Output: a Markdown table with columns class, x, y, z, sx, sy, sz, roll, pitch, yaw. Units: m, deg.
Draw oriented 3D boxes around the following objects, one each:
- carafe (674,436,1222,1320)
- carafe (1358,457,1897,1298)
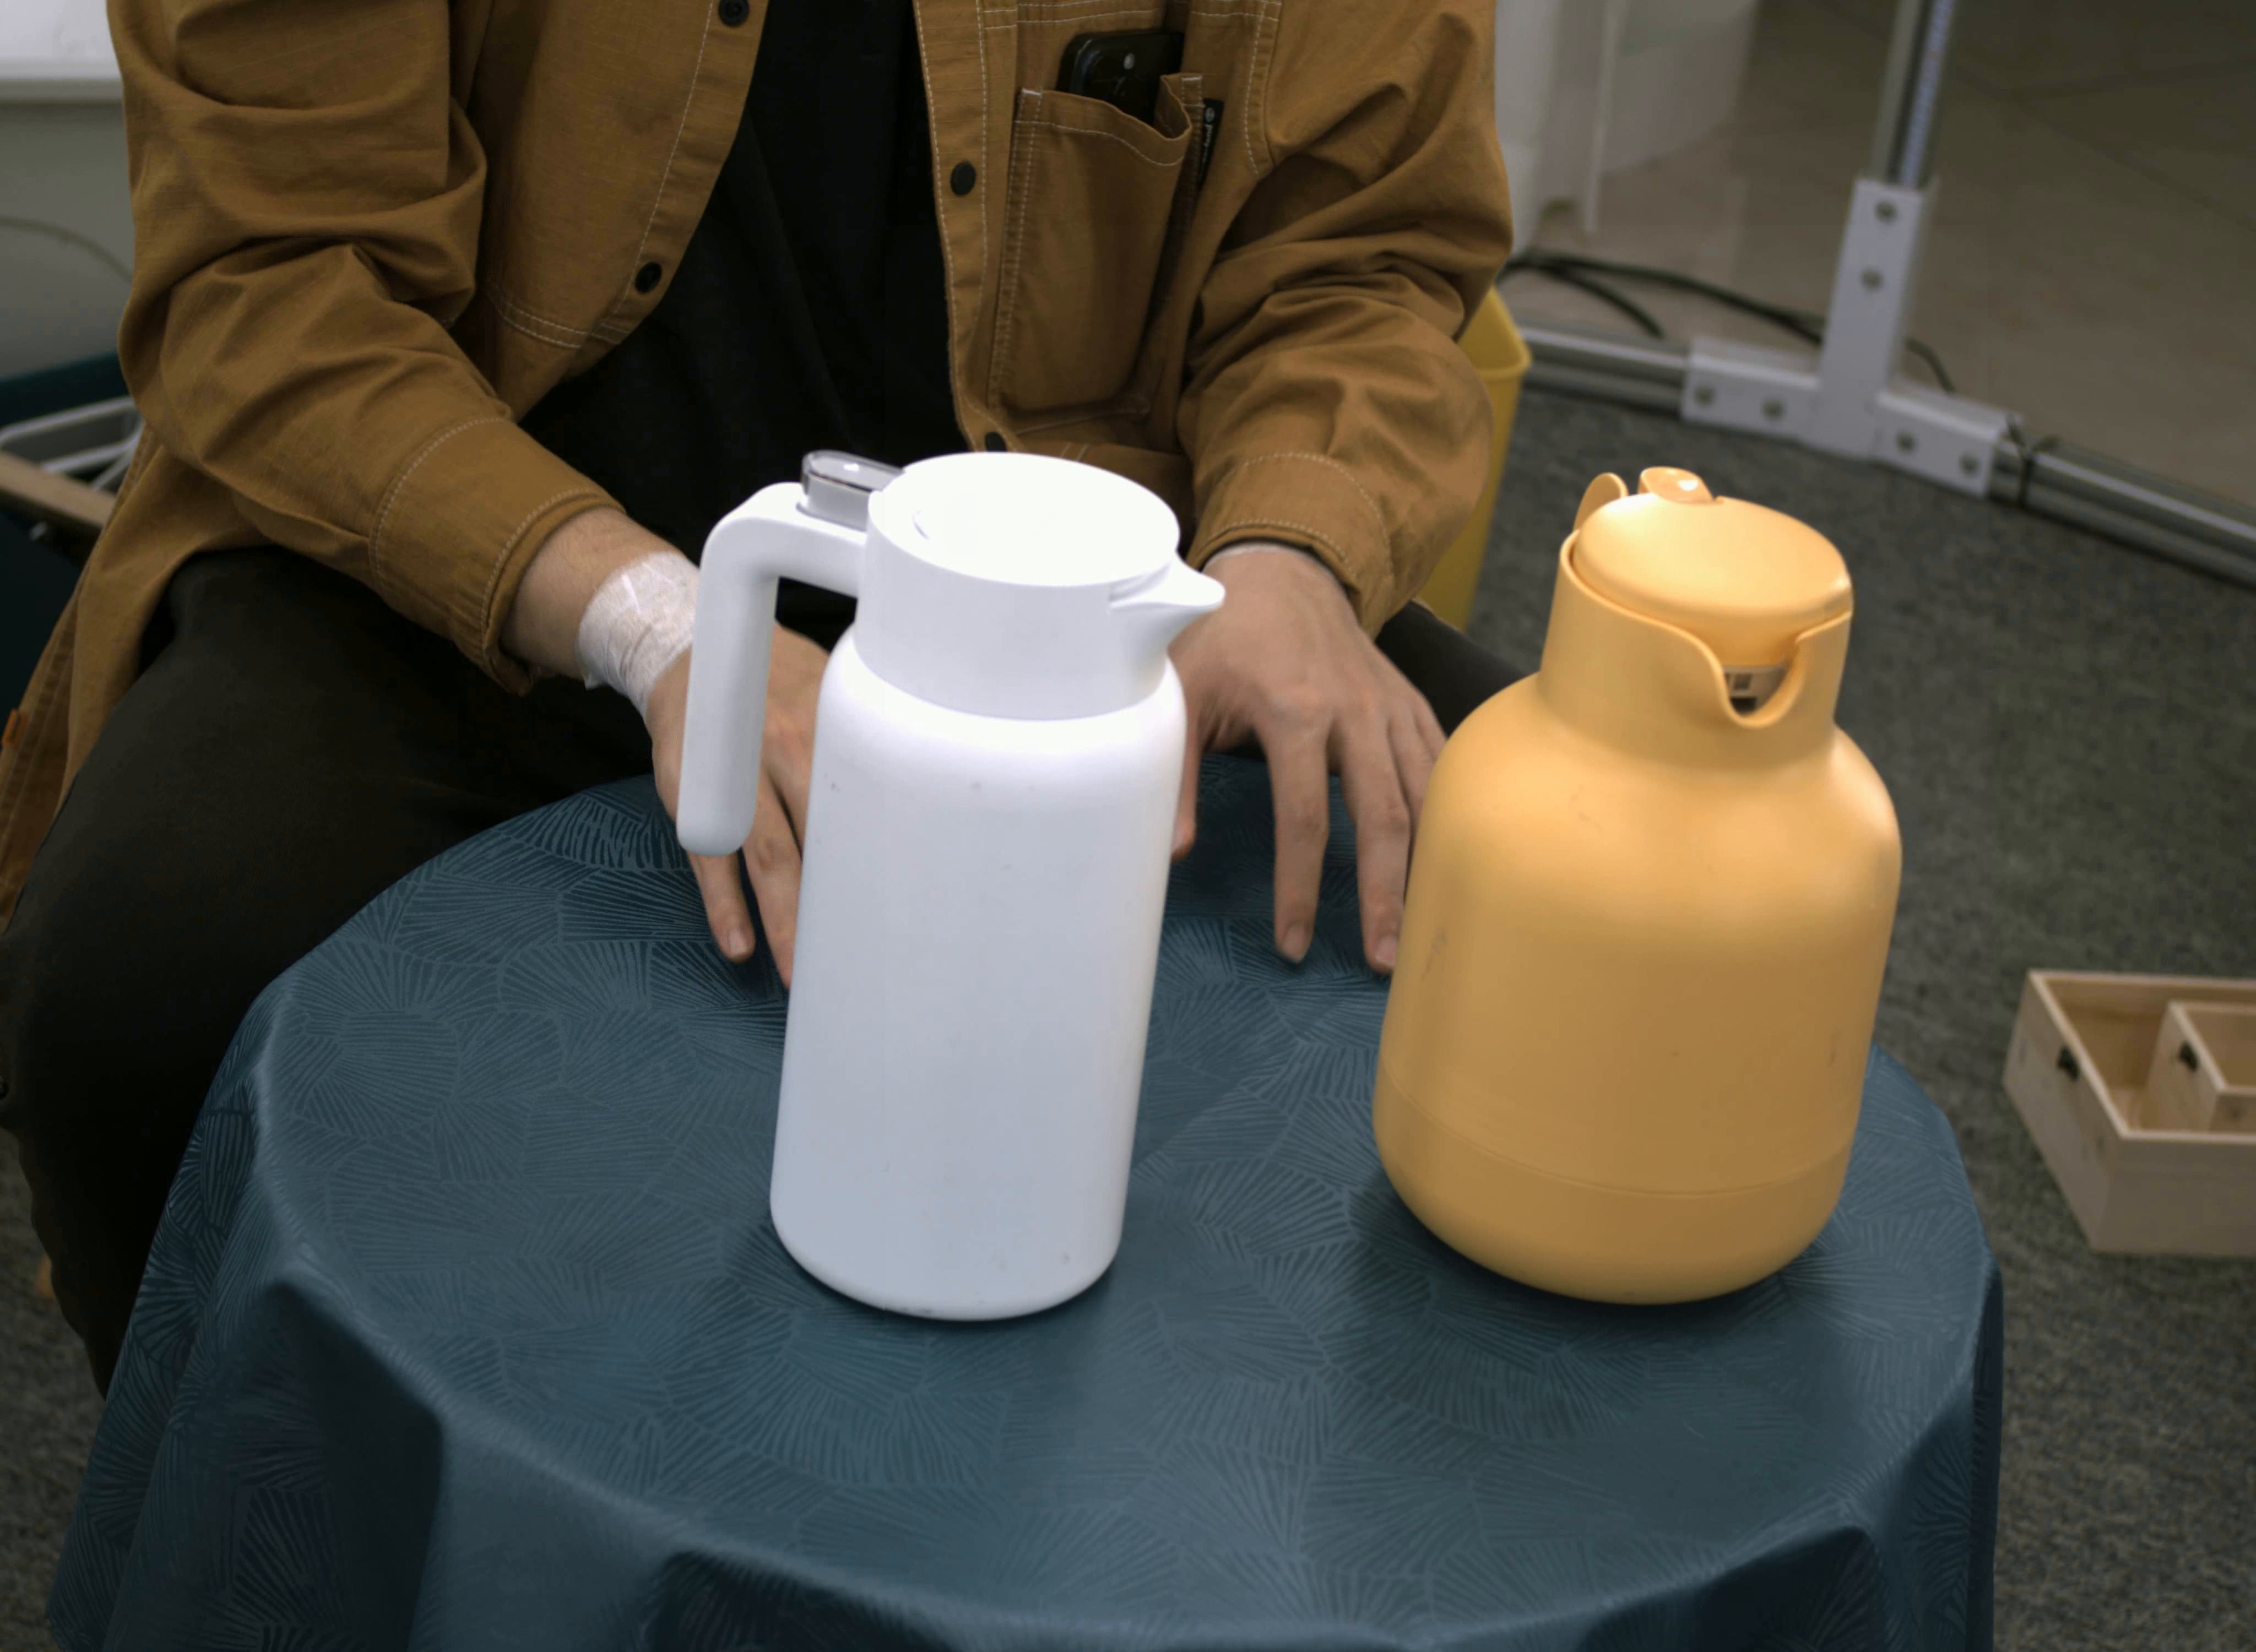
| class | x | y | z | sx | sy | sz | roll | pitch | yaw |
| --- | --- | --- | --- | --- | --- | --- | --- | --- | --- |
| carafe | -0.064 | 0.015 | 1.711 | 0.173 | 0.268 | 0.124 | 16 | 29 | 17 |
| carafe | 0.171 | 0.008 | 1.781 | 0.162 | 0.259 | 0.204 | 6 | 28 | -9 |
